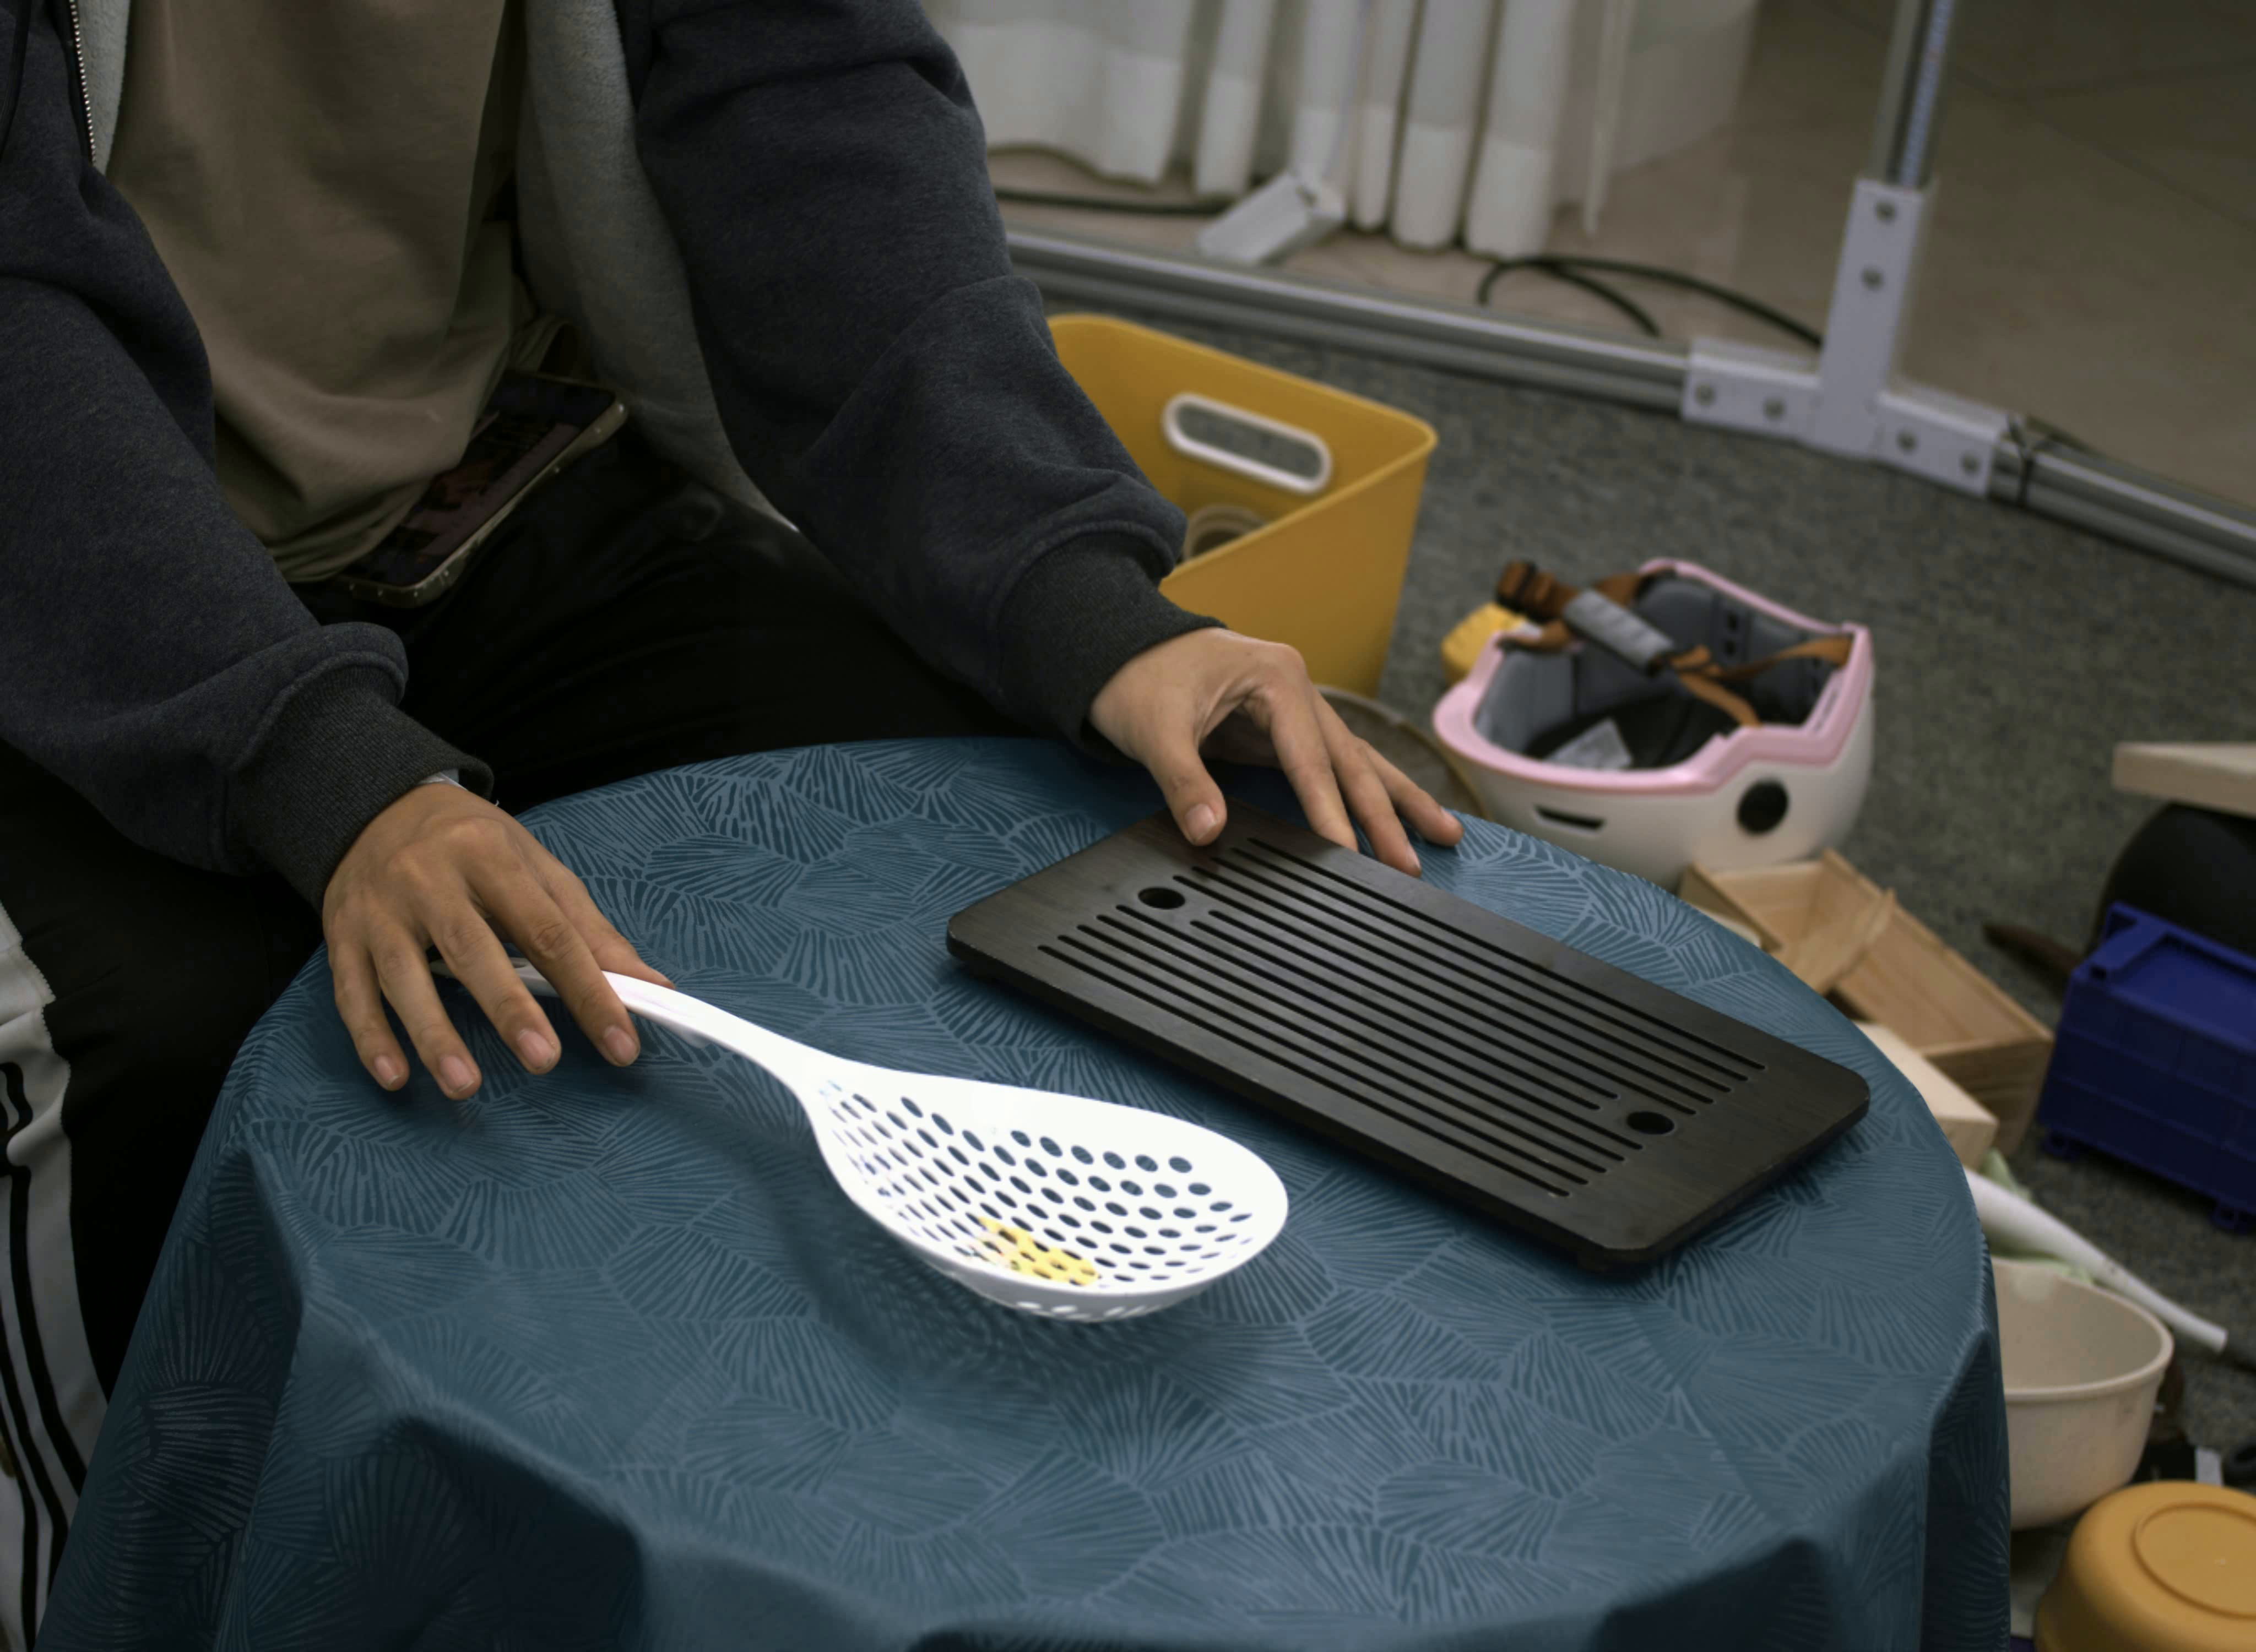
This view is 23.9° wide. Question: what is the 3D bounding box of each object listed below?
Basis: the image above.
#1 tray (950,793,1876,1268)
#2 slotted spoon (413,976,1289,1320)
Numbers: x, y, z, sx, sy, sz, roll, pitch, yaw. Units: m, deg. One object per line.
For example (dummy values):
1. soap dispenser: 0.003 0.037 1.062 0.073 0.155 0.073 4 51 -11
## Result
1. tray: 0.100 0.070 1.909 0.308 0.018 0.169 24 32 31
2. slotted spoon: -0.105 0.095 1.789 0.350 0.050 0.136 24 31 31
